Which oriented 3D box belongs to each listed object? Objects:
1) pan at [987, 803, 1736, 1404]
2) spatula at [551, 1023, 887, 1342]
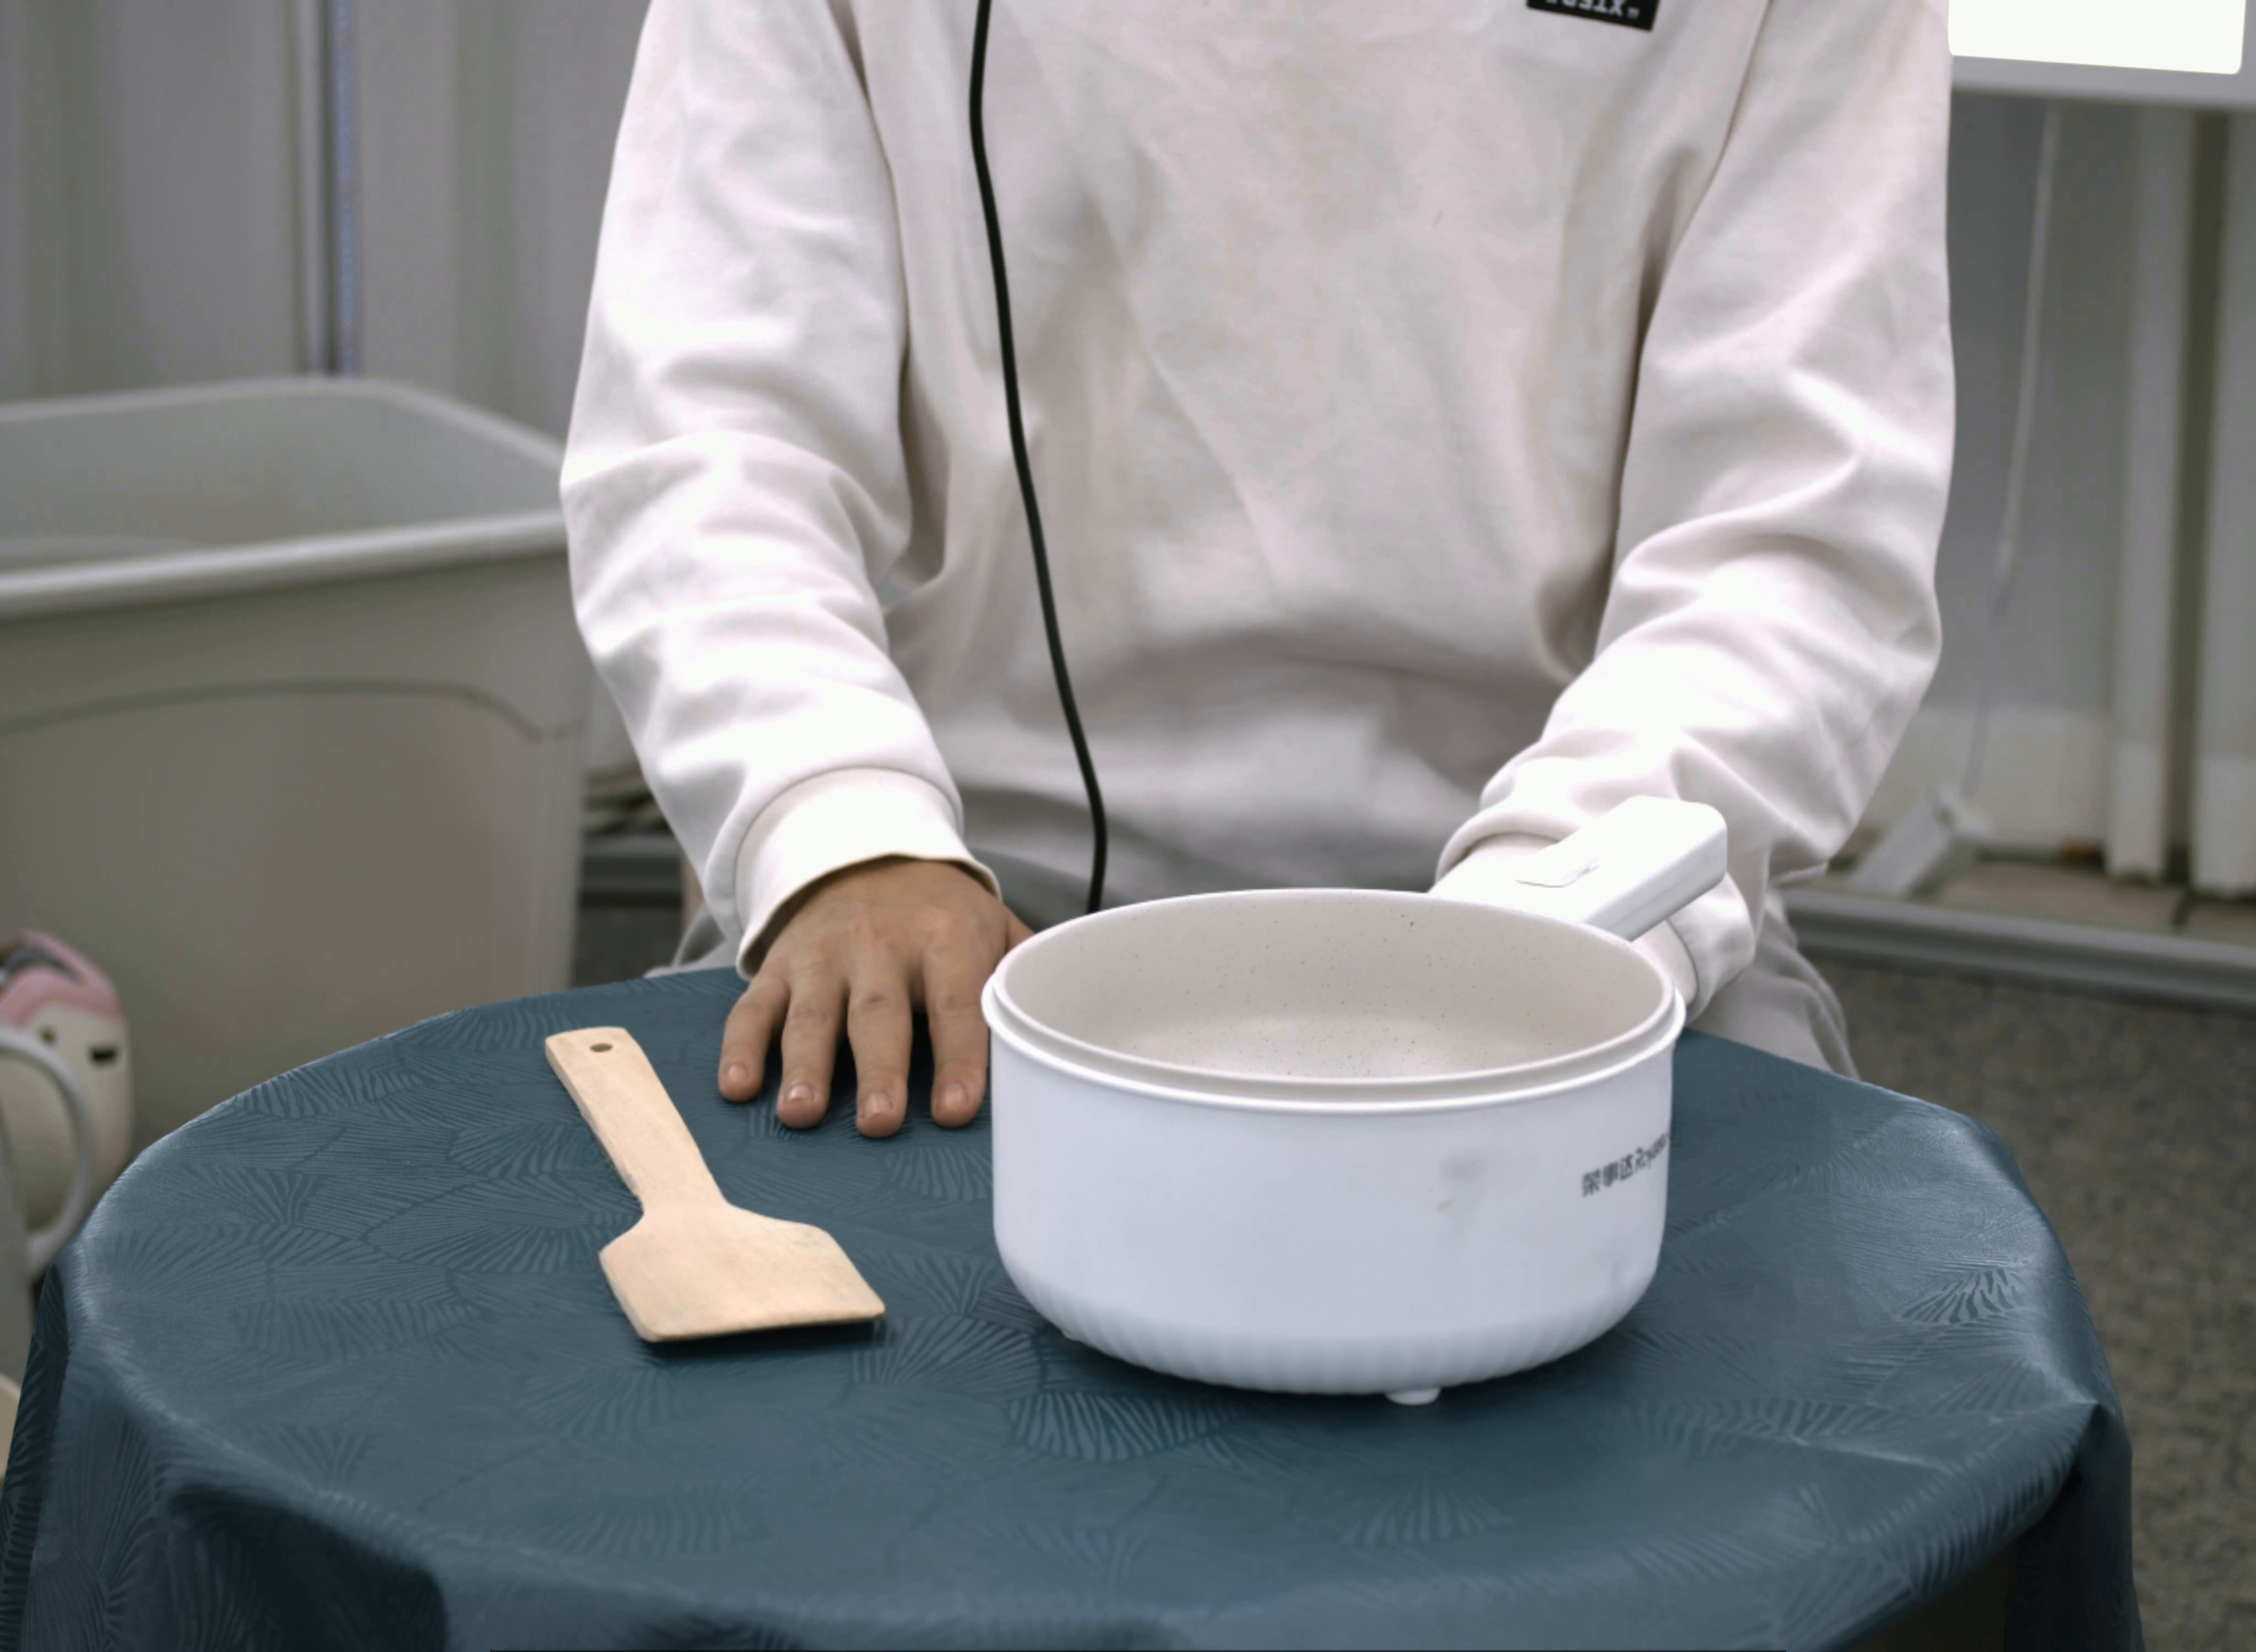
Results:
[{"bbox_3d":[0.095,0.076,1.582,0.199,0.103,0.356,8,16,27],"label":"pan"},{"bbox_3d":[-0.142,0.107,1.626,0.072,0.011,0.290,-5,16,-16],"label":"spatula"}]
